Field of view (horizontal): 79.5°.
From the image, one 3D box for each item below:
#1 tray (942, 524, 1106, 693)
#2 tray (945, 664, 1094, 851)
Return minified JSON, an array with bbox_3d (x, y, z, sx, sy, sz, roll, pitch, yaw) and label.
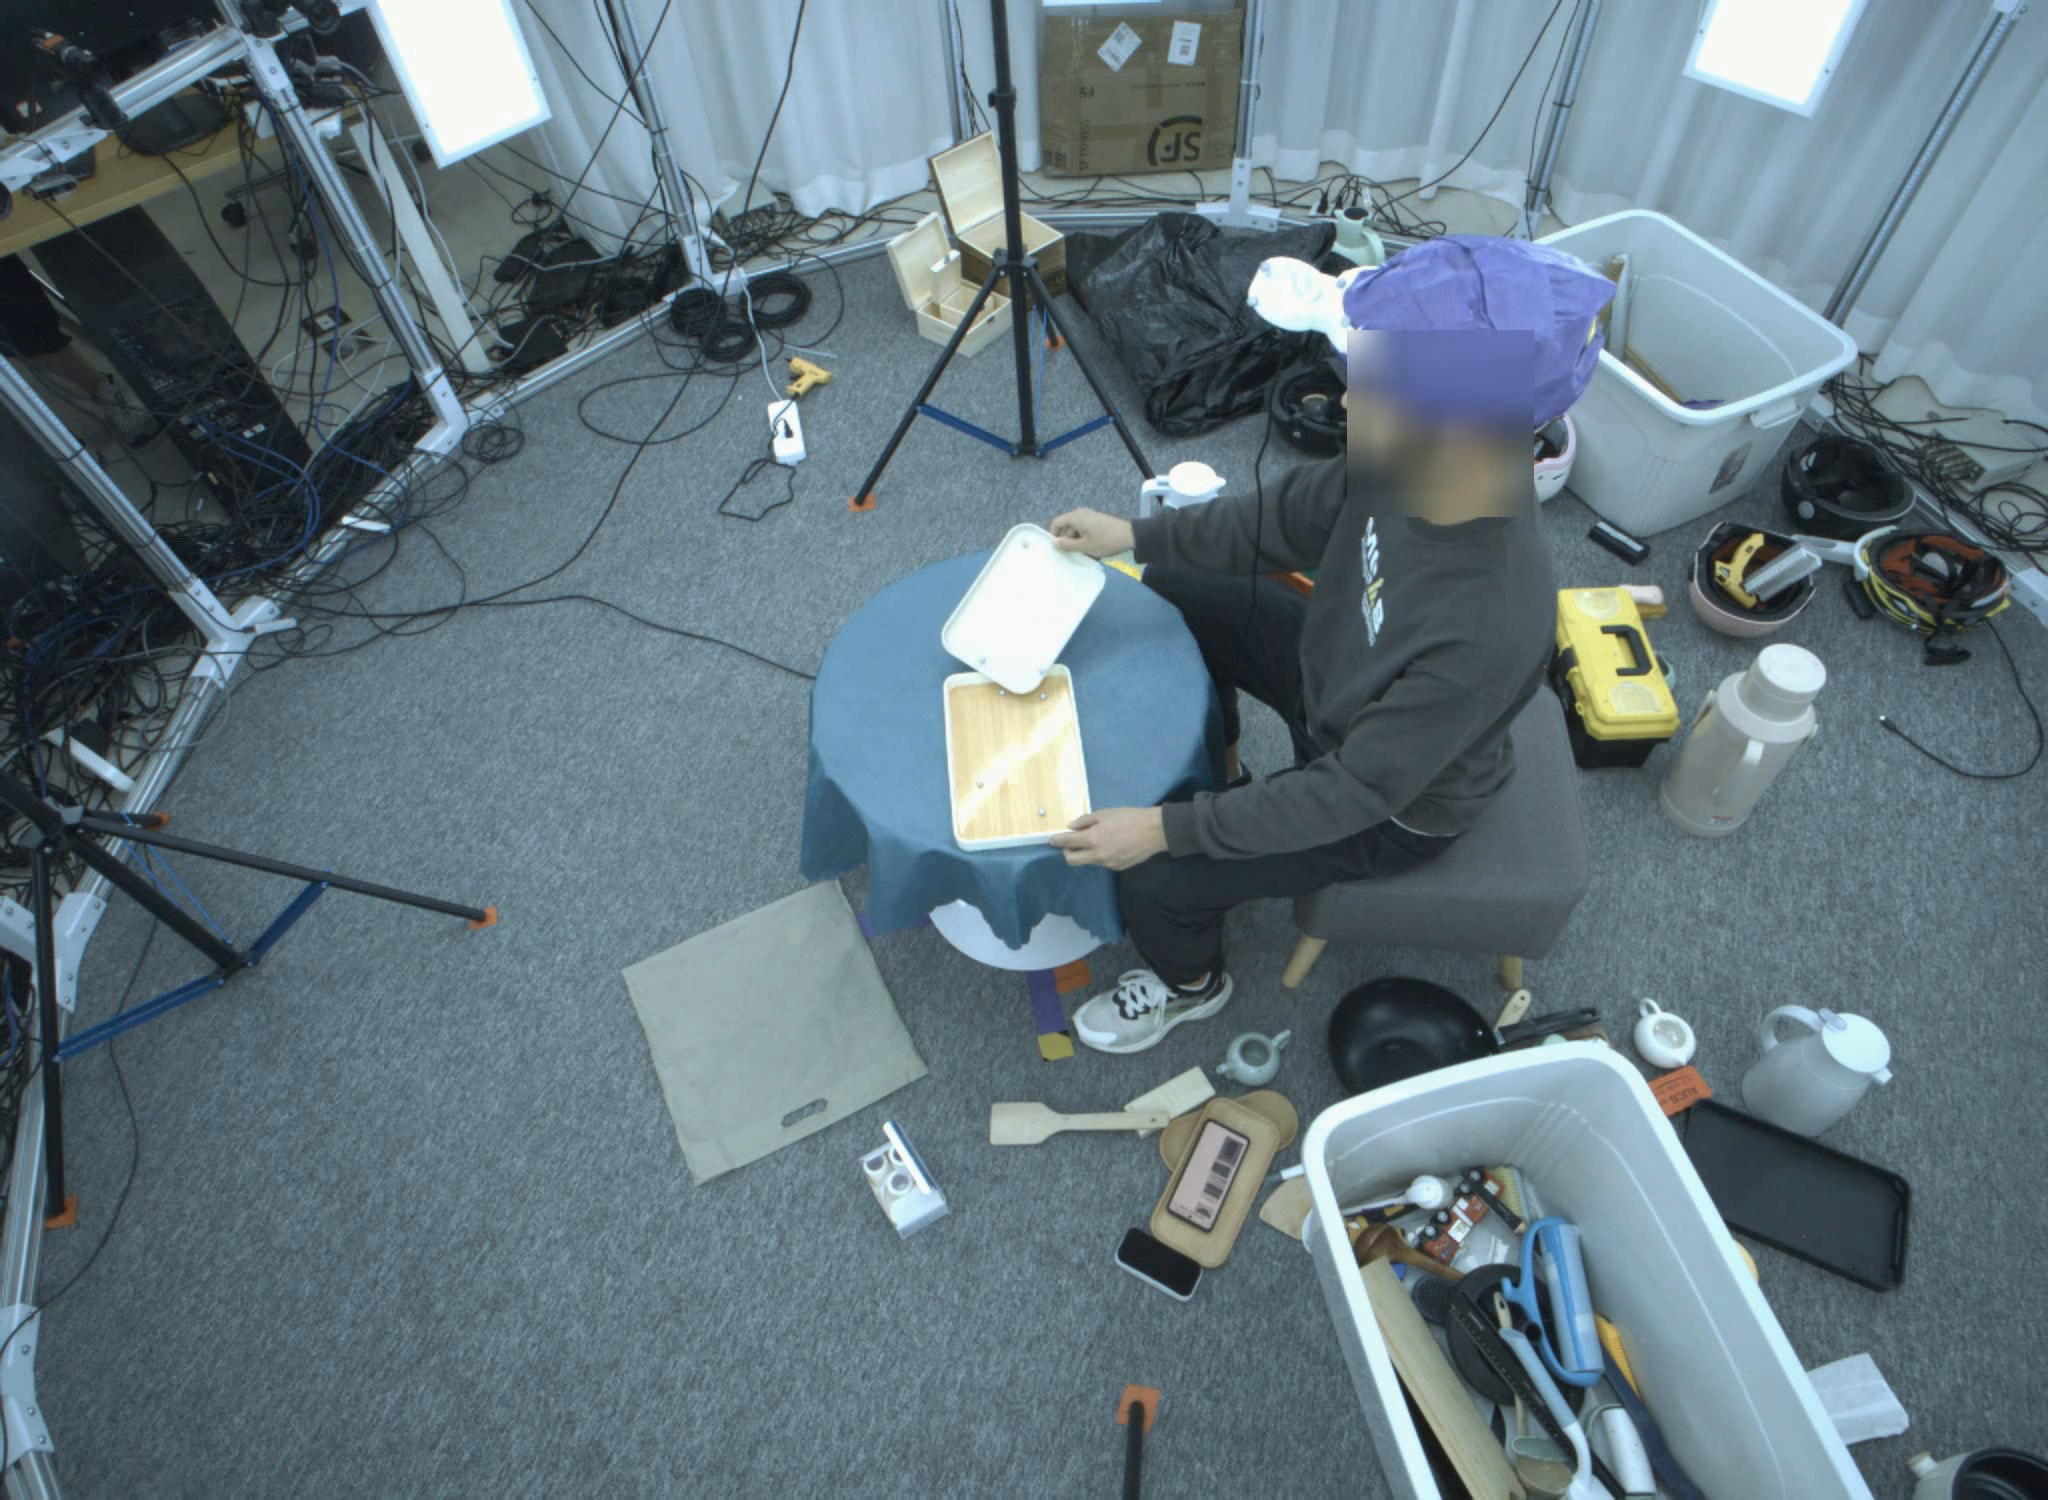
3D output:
[{"bbox_3d":[0.000,-0.213,1.848,0.170,0.017,0.240,32,81,7],"label":"tray"},{"bbox_3d":[-0.010,0.005,1.766,0.192,0.028,0.296,-5,55,-3],"label":"tray"}]
